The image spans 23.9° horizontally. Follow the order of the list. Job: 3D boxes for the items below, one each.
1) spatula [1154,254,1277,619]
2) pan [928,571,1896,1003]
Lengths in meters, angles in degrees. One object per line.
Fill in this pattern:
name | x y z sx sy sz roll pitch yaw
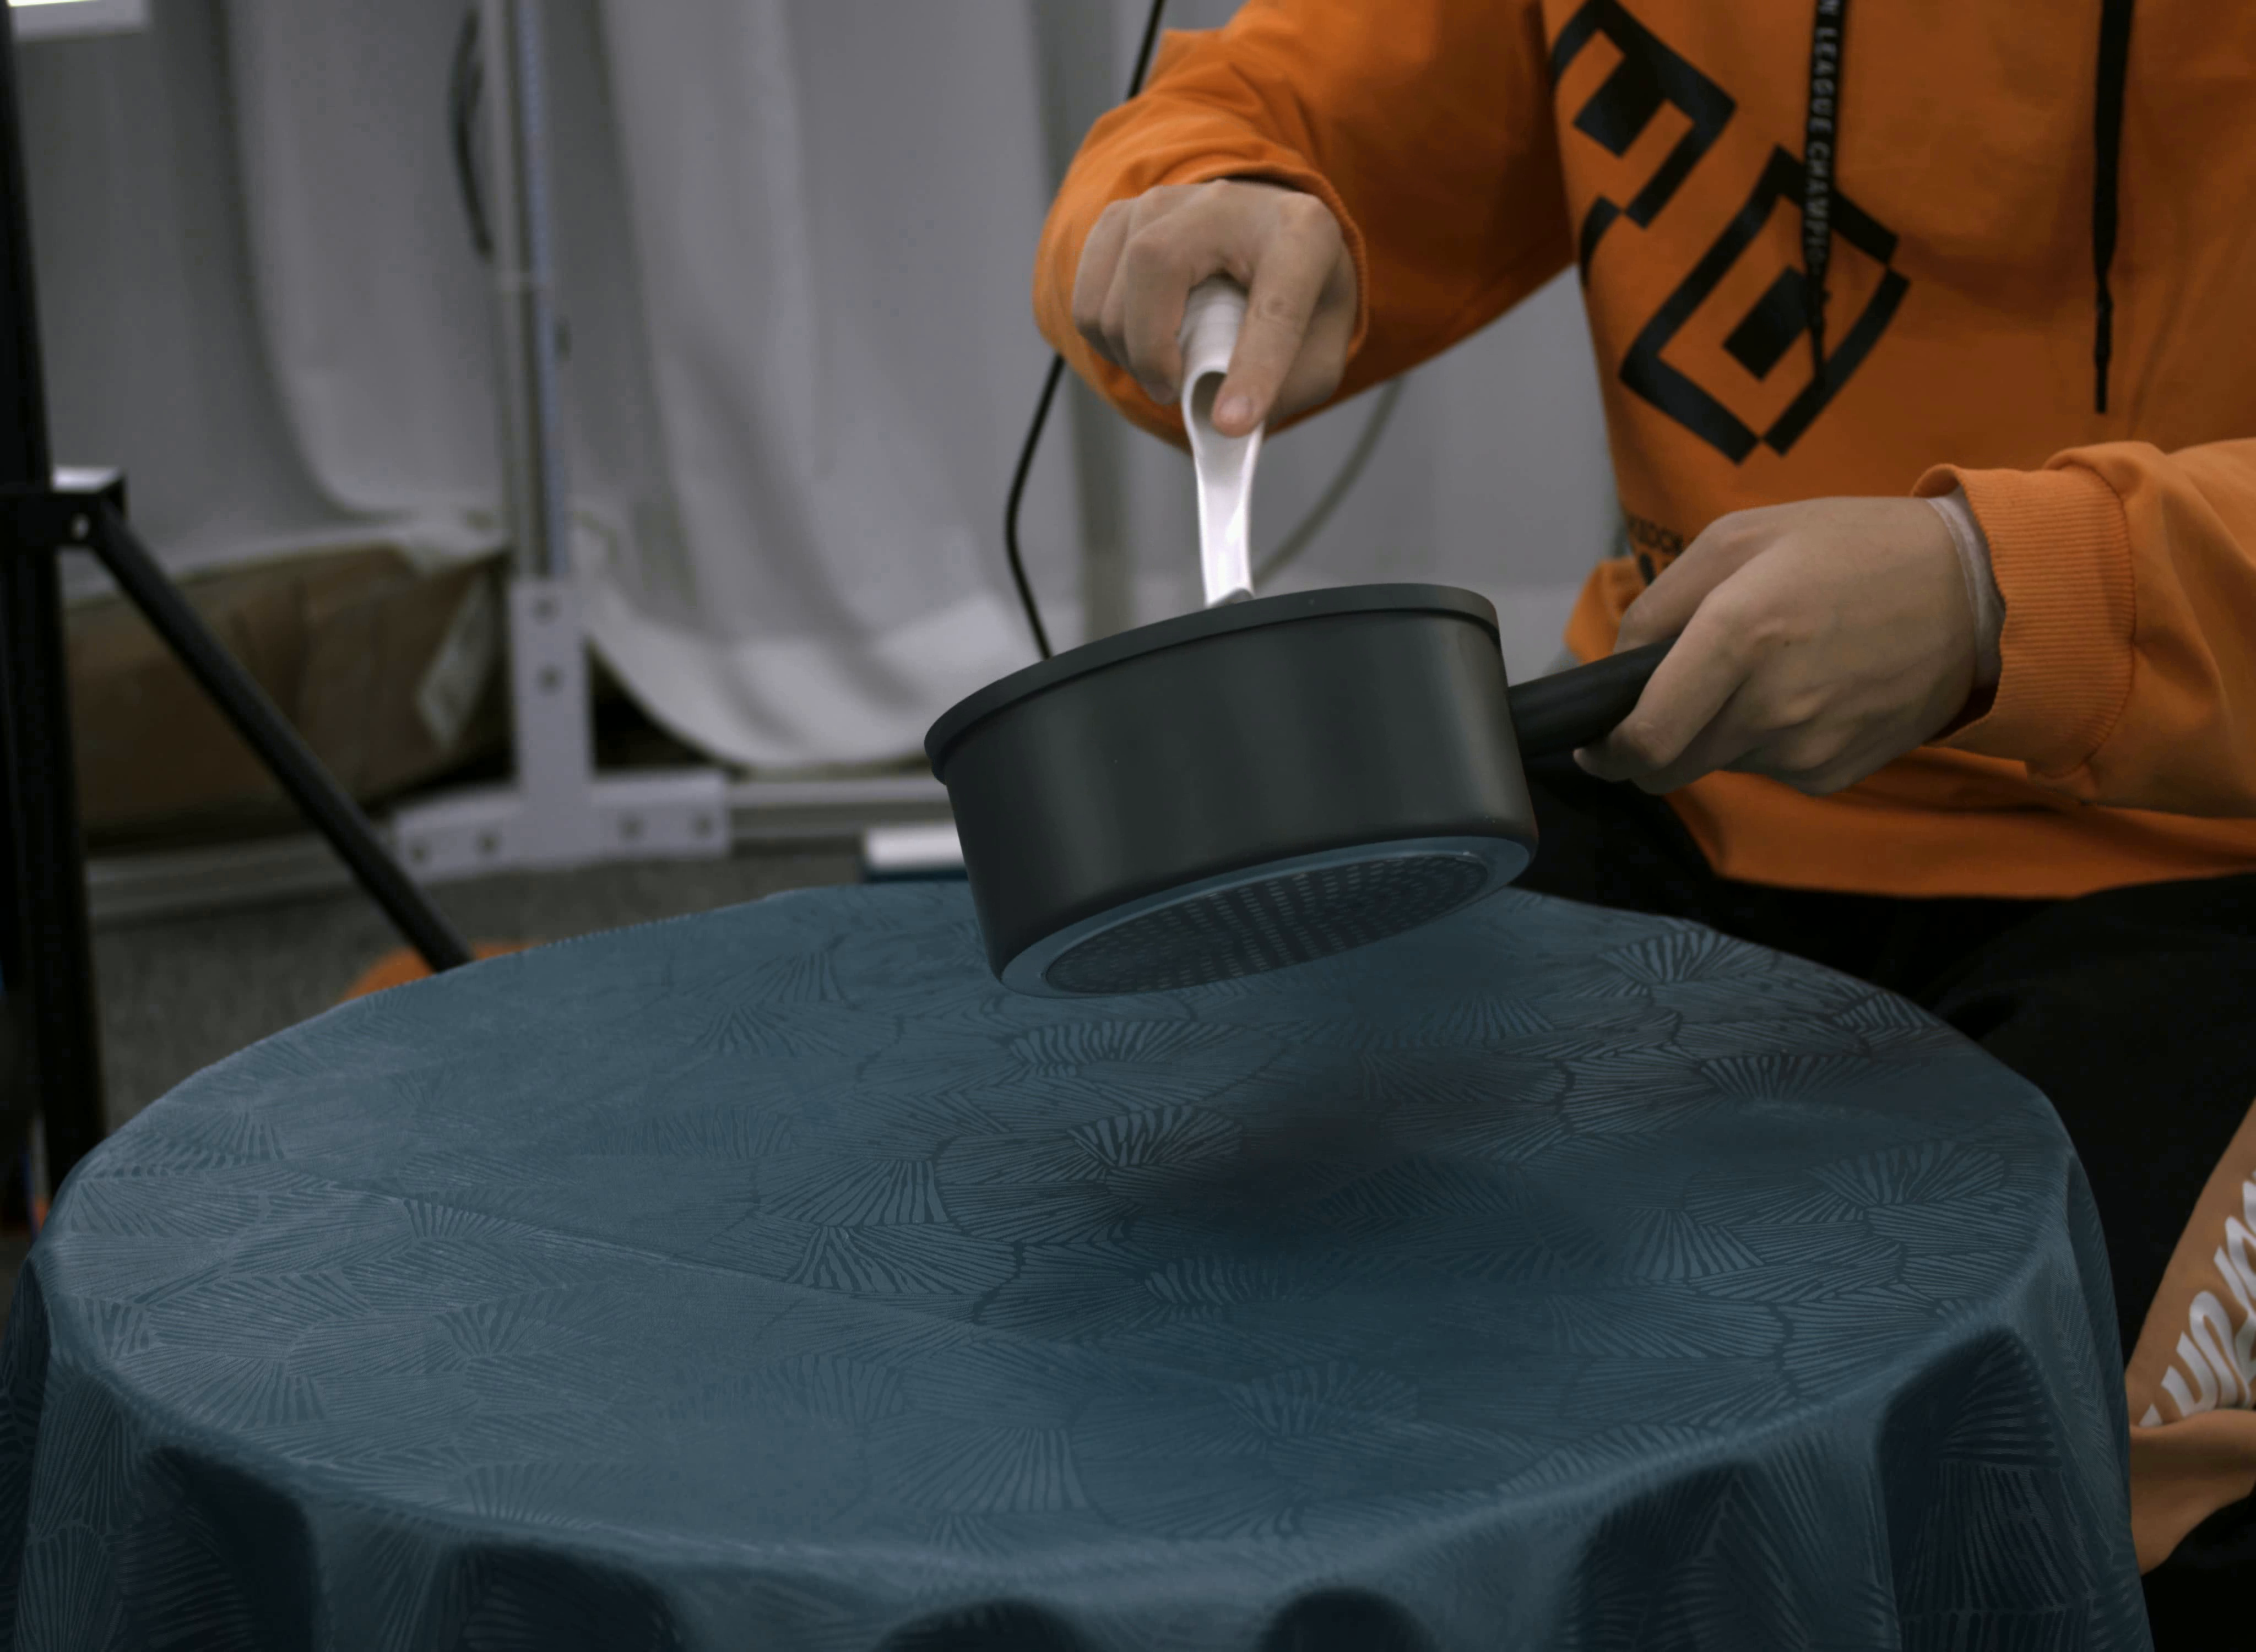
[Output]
spatula | 0.035 -0.083 1.640 0.059 0.031 0.291 -29 36 17
pan | 0.099 -0.017 1.575 0.321 0.087 0.174 -7 -13 -29
